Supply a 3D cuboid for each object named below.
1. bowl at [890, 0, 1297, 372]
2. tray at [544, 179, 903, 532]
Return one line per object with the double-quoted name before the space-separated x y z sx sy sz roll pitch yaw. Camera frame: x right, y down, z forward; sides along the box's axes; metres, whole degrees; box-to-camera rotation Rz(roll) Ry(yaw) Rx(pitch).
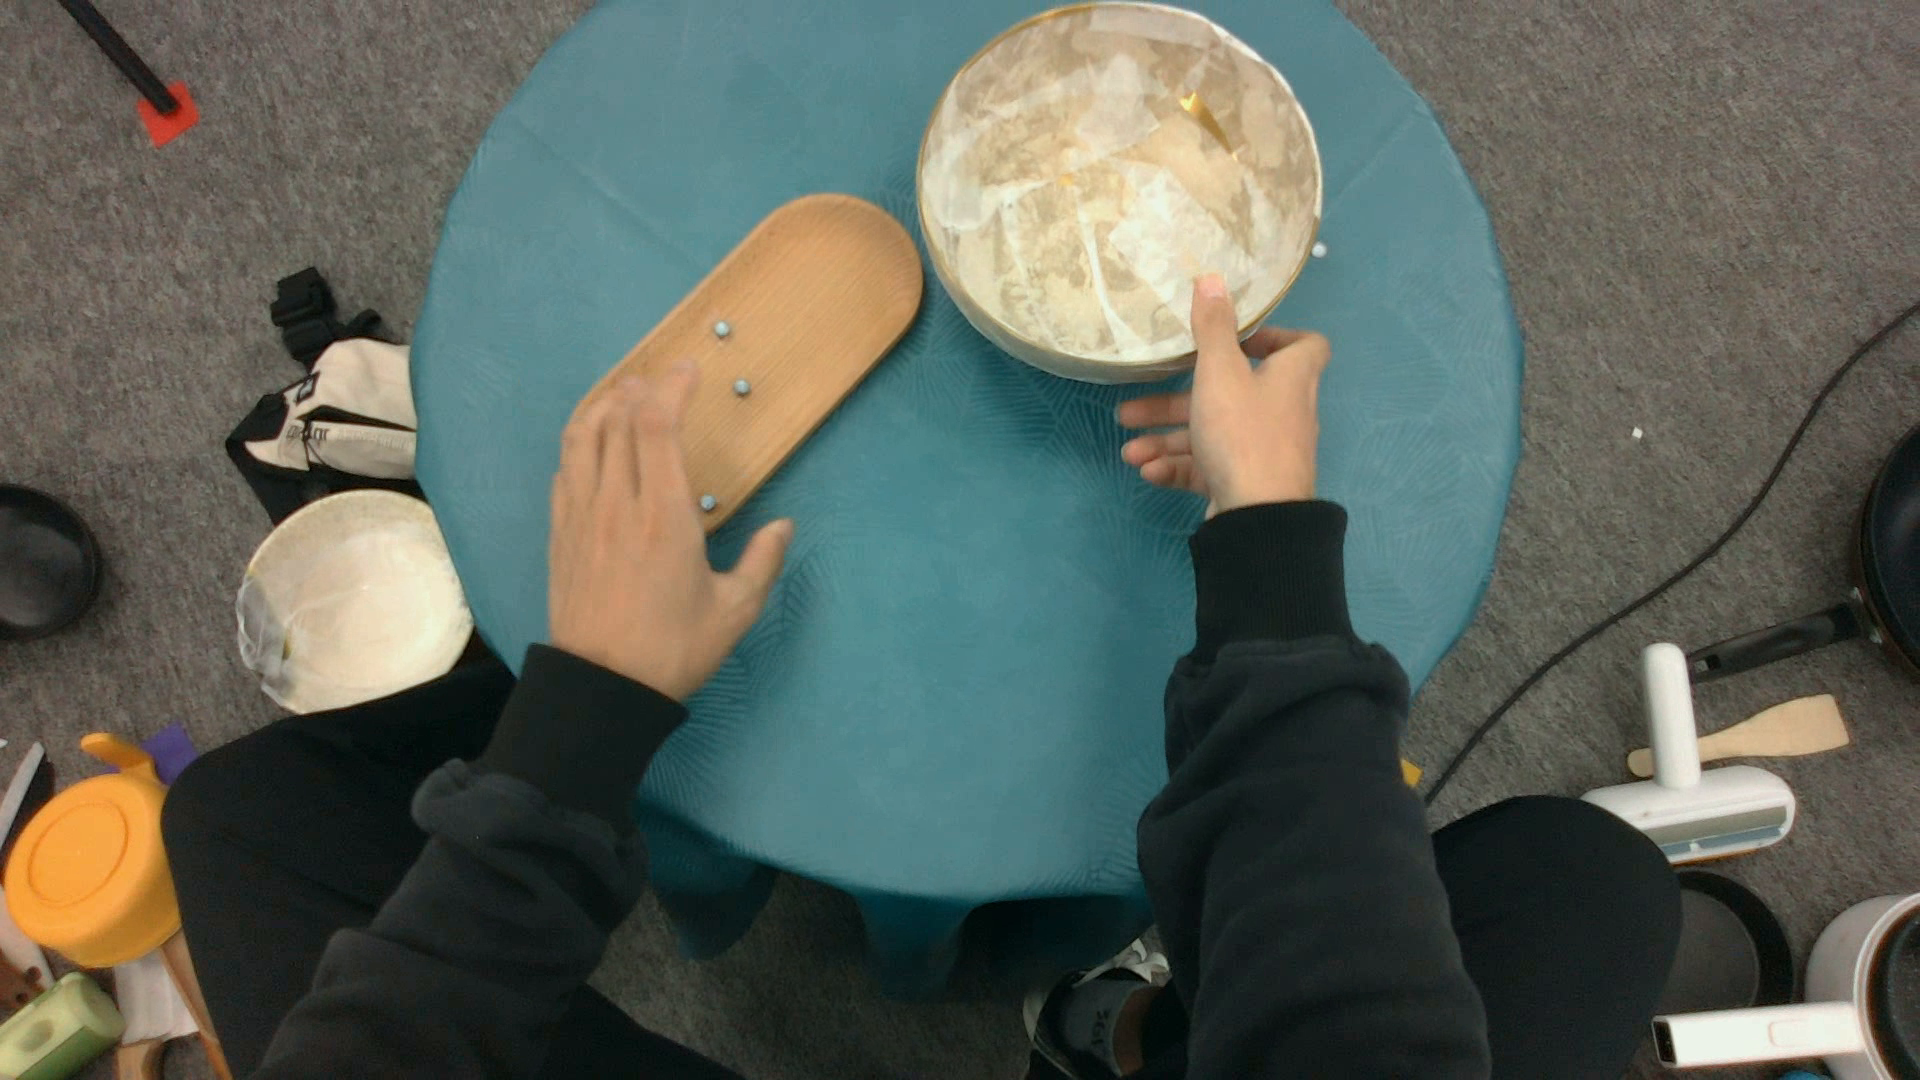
"bowl" 0.062 -0.172 0.724 0.215 0.094 0.215 1 75 -3
"tray" -0.123 -0.100 0.734 0.102 0.020 0.232 39 74 6
